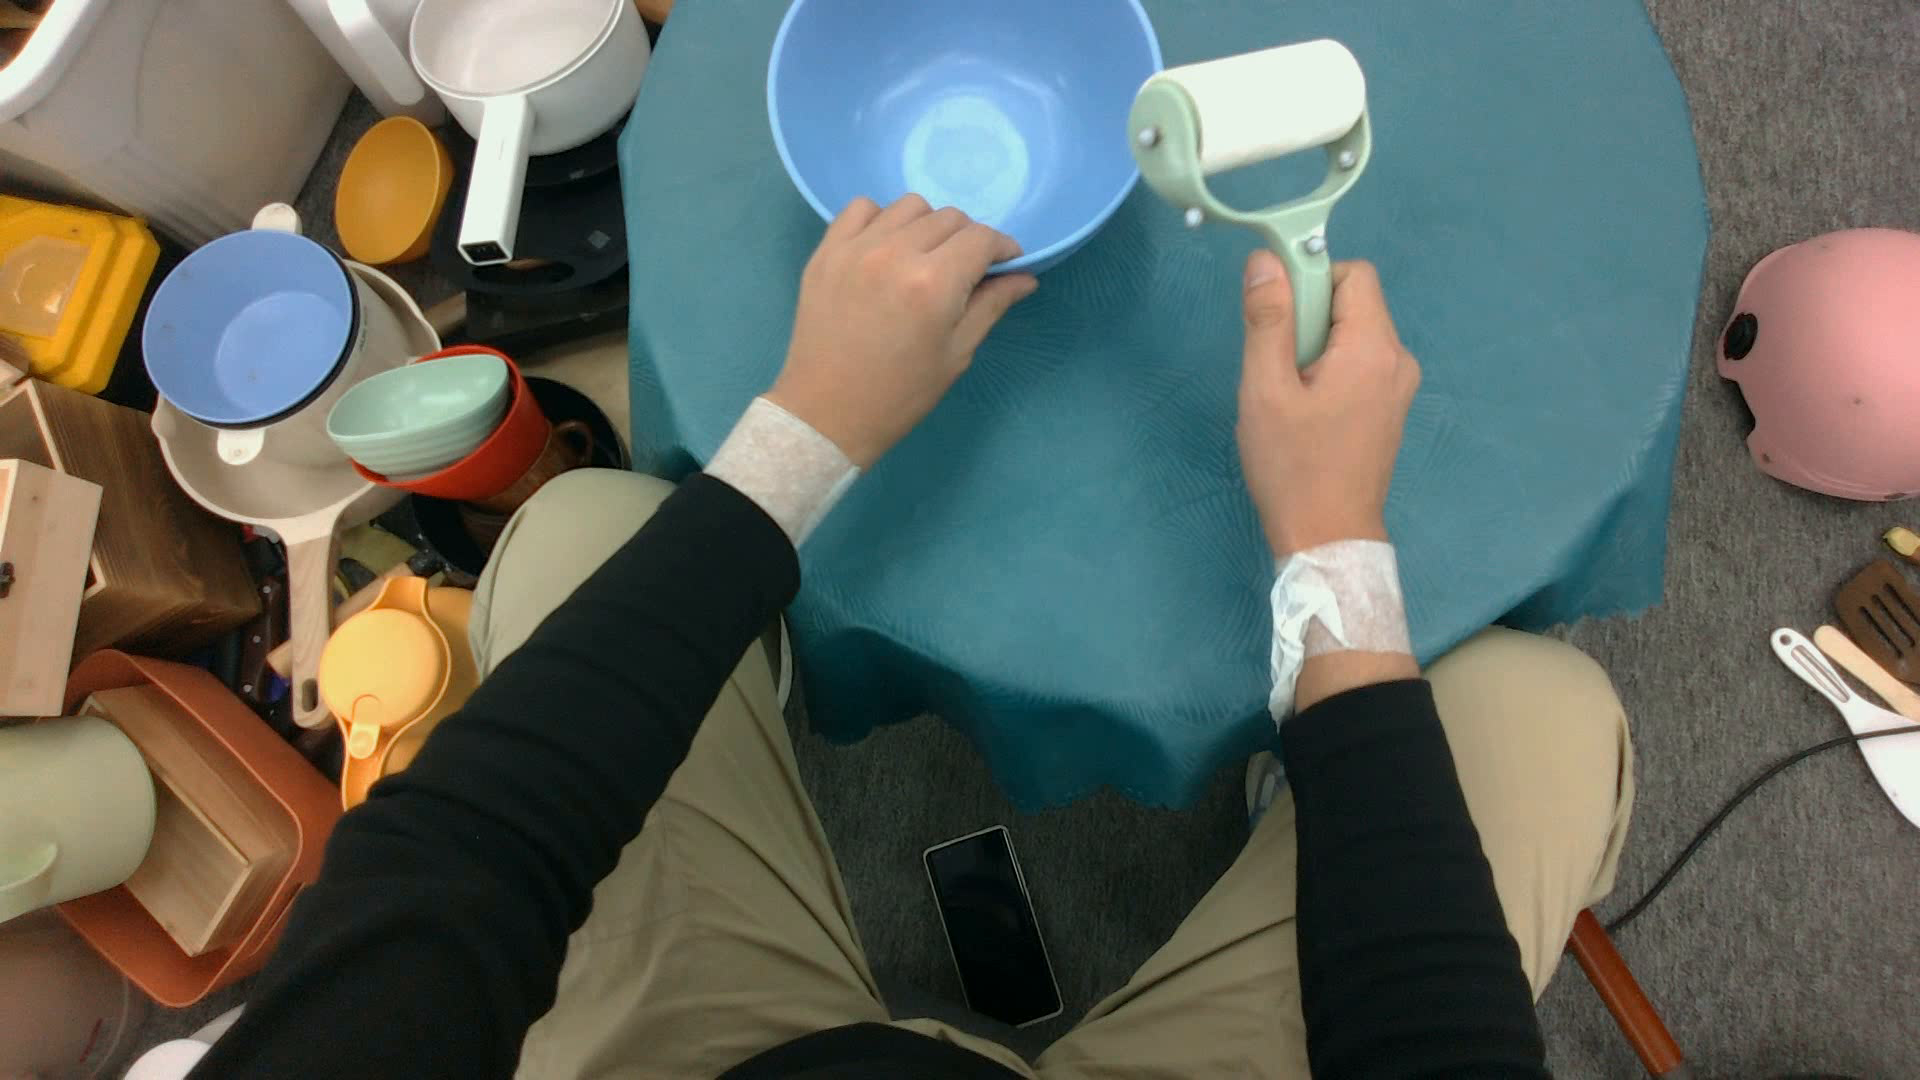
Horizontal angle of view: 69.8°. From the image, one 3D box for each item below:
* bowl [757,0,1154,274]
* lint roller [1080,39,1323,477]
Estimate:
[{"bbox_3d":[-0.002,-0.221,0.724,0.196,0.095,0.197,0,77,-1],"label":"bowl"},{"bbox_3d":[0.129,-0.120,0.631,0.117,0.048,0.197,-27,105,-31],"label":"lint roller"}]
